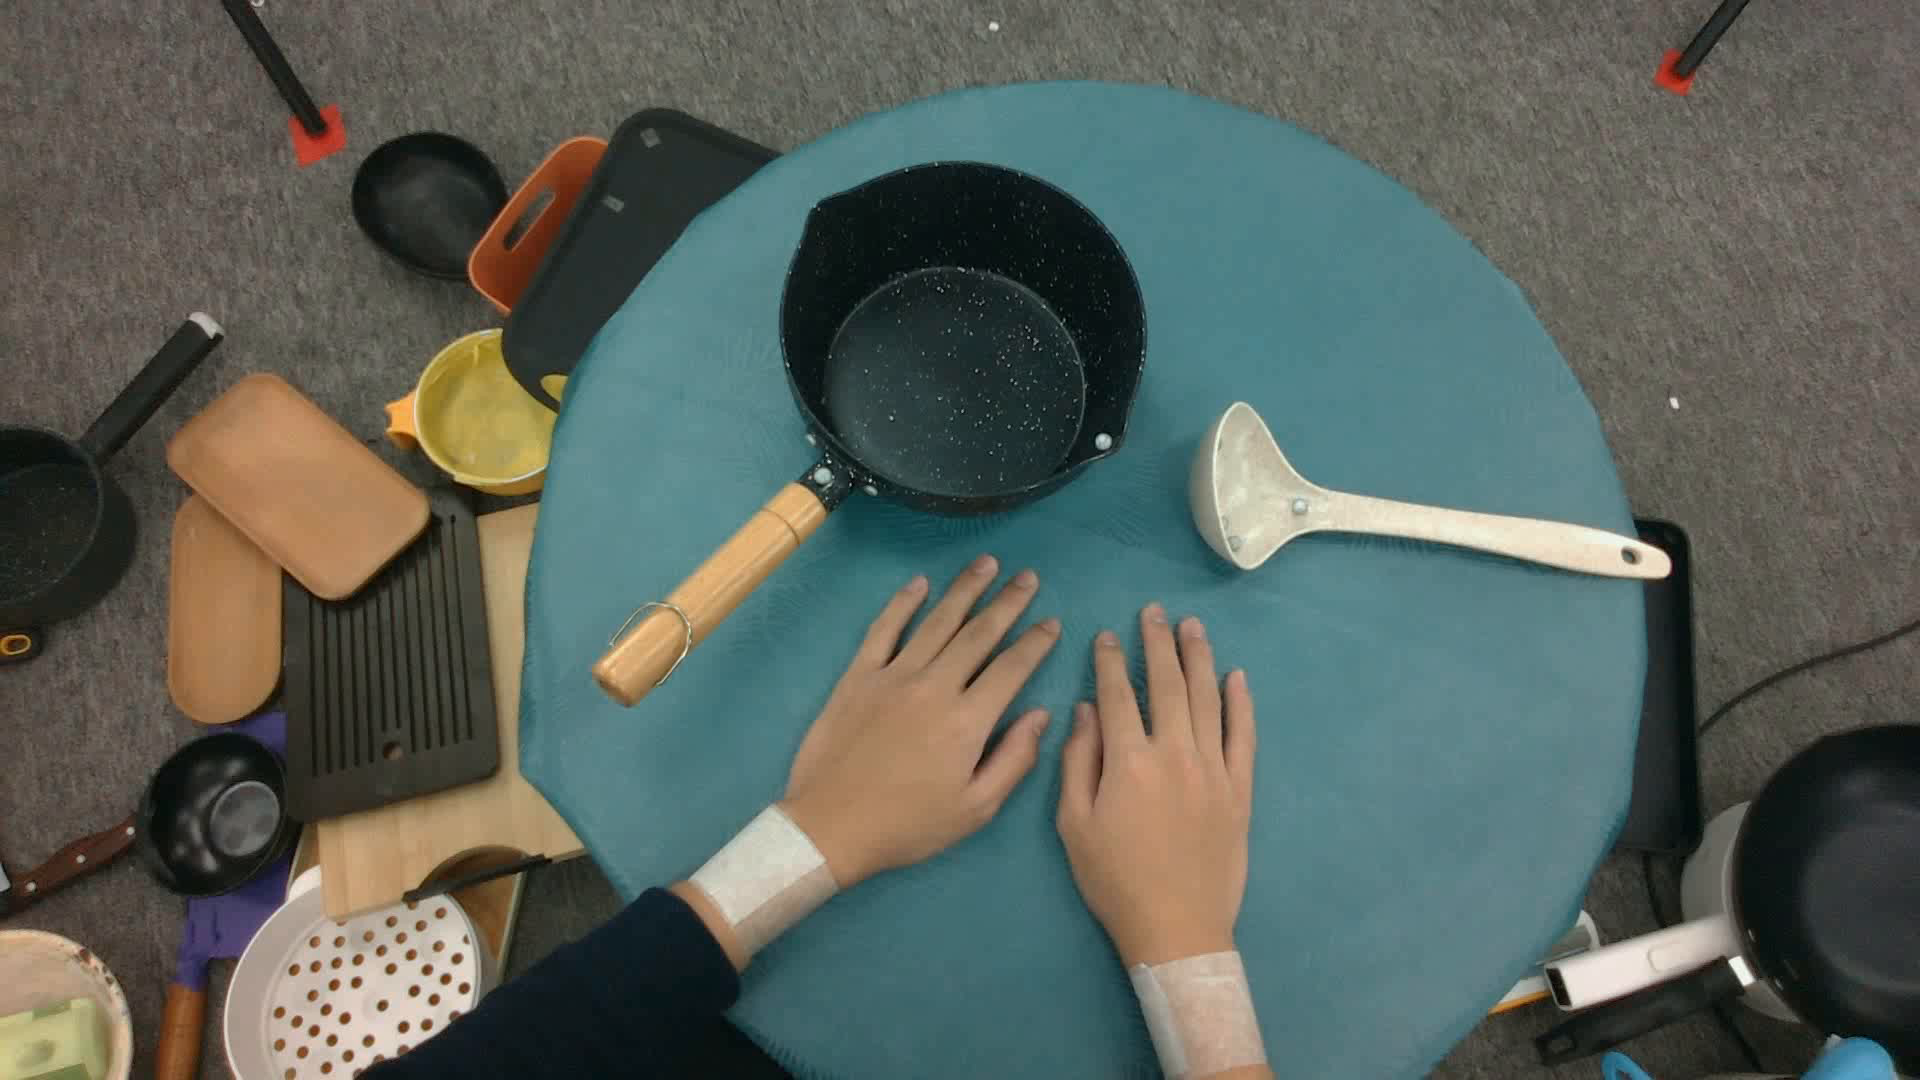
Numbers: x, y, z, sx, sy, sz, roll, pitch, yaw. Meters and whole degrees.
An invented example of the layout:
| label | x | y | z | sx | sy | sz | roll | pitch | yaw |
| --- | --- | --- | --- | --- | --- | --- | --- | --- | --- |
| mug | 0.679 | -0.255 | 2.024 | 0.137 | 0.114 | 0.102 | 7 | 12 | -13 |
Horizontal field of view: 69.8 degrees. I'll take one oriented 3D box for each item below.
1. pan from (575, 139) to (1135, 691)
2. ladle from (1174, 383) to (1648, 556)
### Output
| label | x | y | z | sx | sy | sz | roll | pitch | yaw |
| --- | --- | --- | --- | --- | --- | --- | --- | --- | --- |
| pan | -0.056 | -0.050 | 0.688 | 0.207 | 0.108 | 0.344 | 38 | 73 | 6 |
| ladle | 0.248 | -0.026 | 0.727 | 0.275 | 0.069 | 0.089 | 7 | 67 | -3 |
